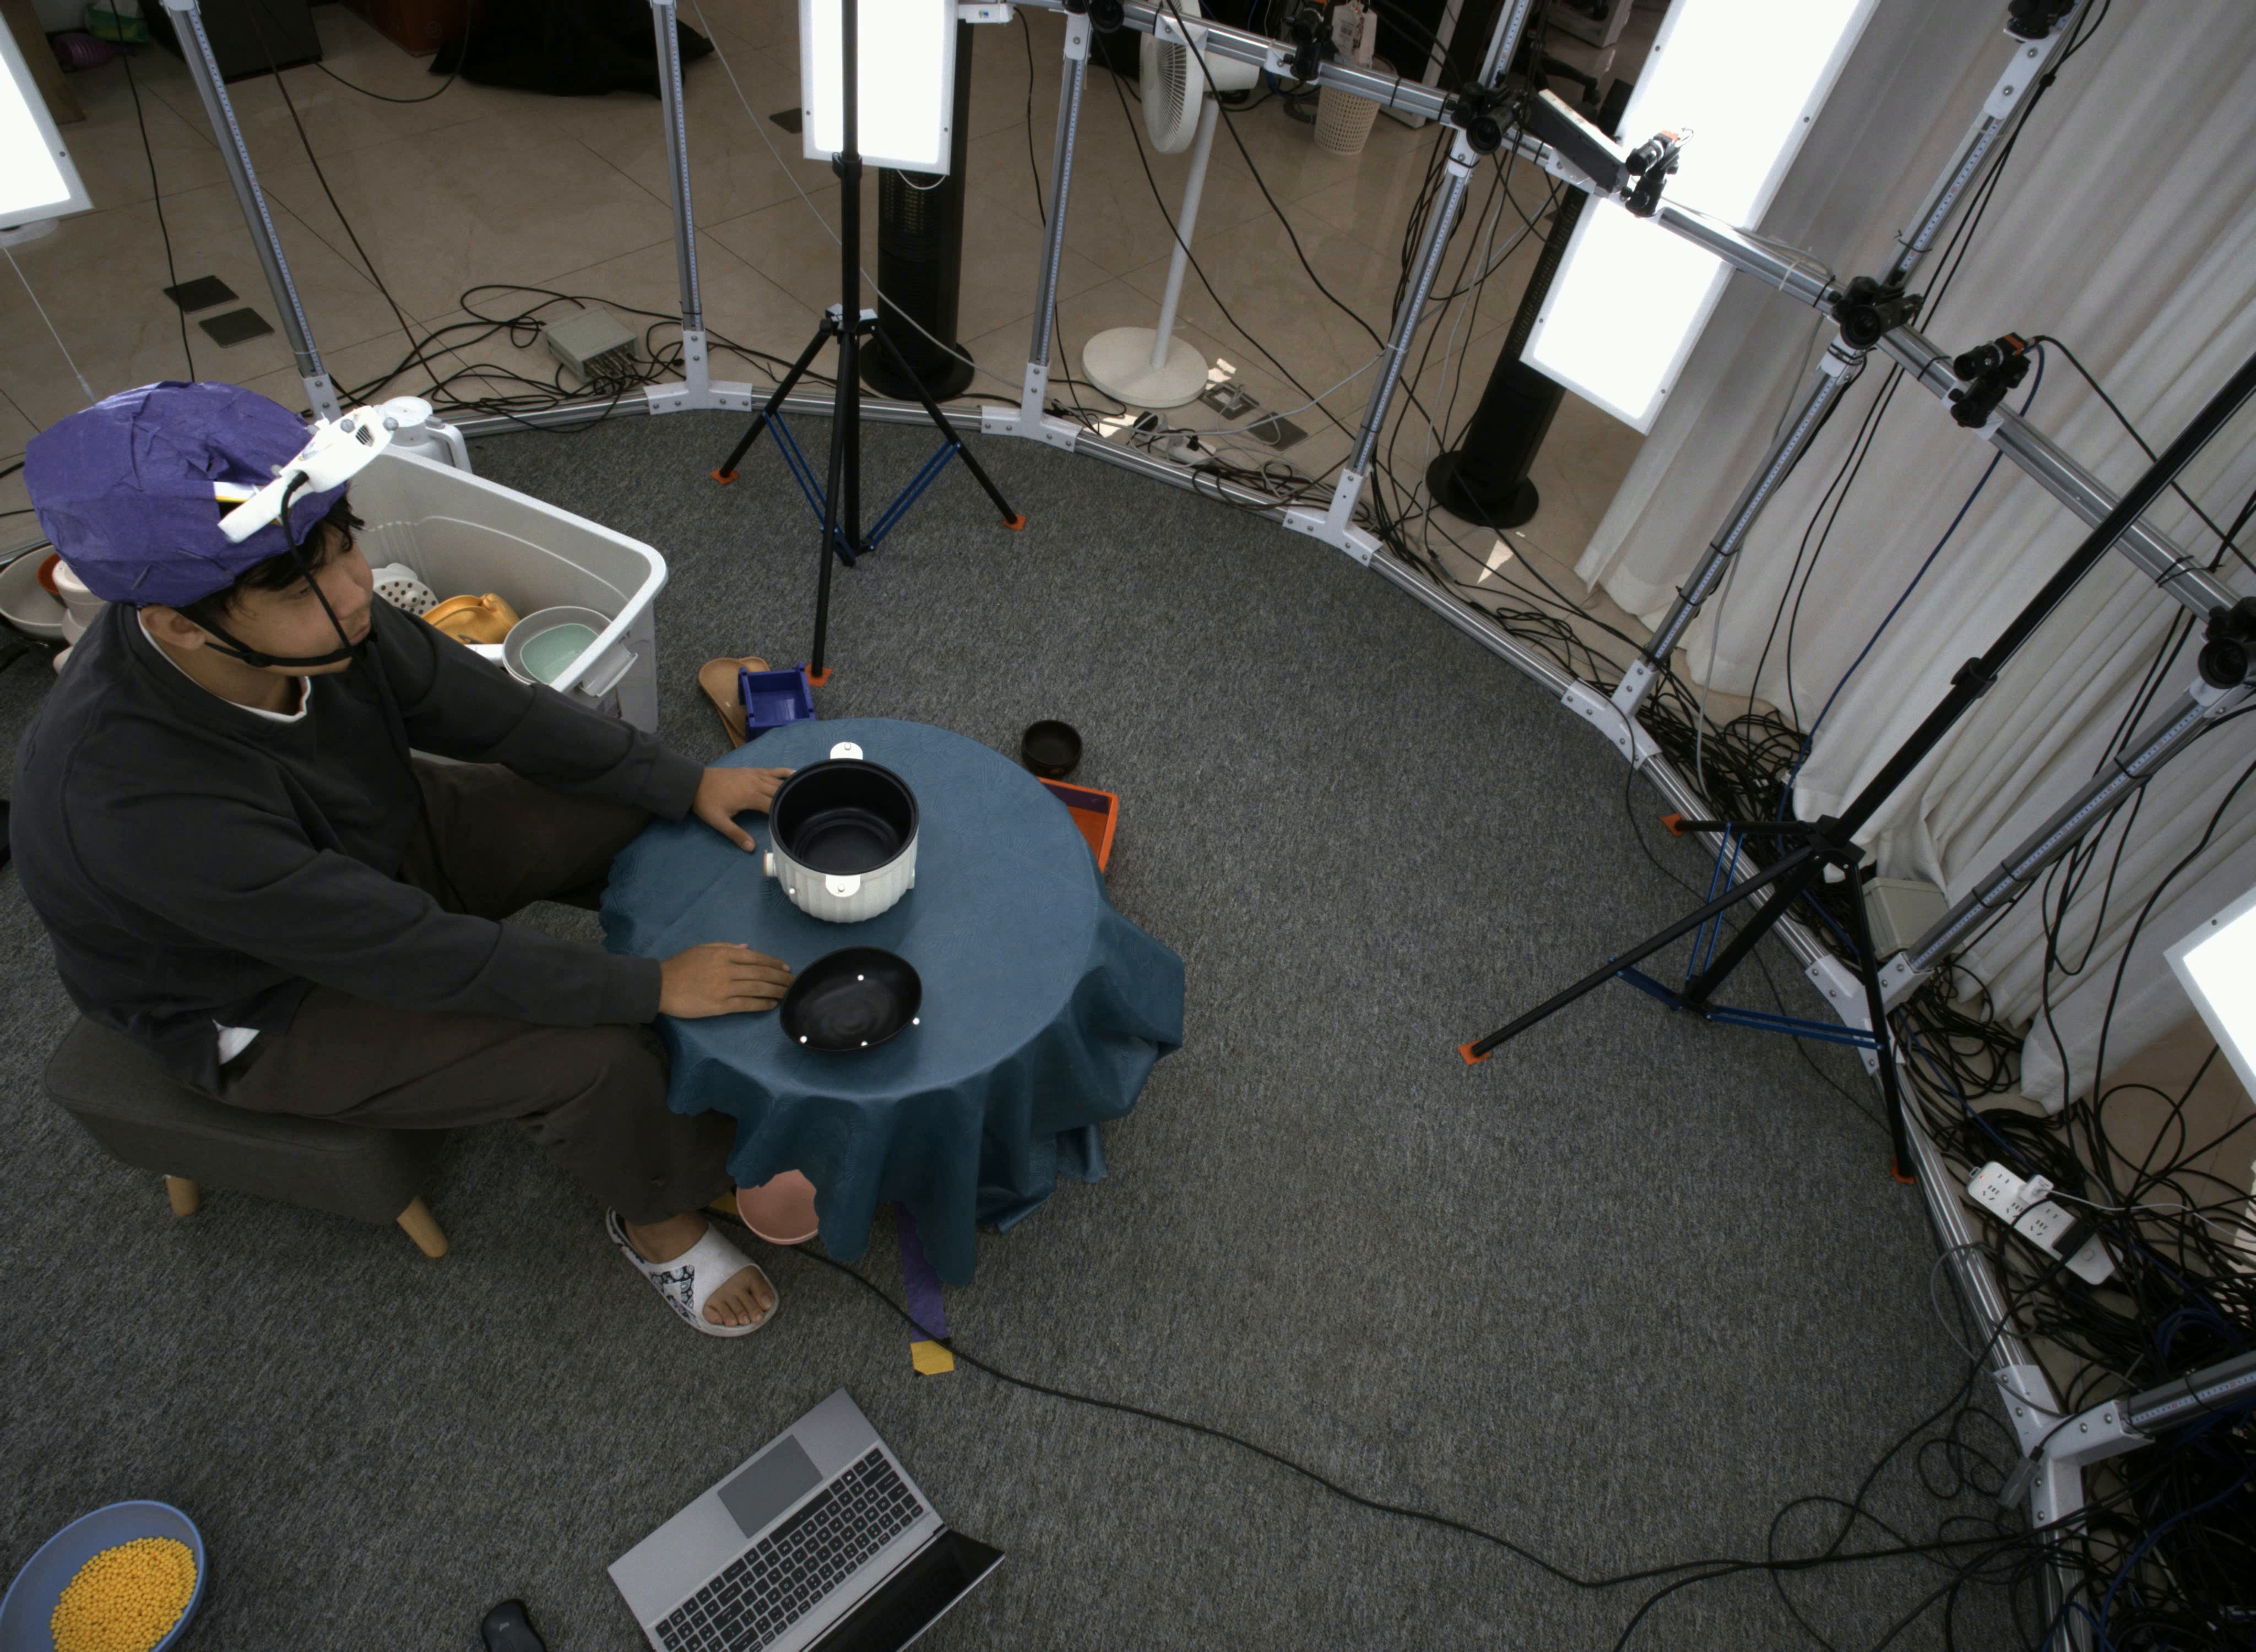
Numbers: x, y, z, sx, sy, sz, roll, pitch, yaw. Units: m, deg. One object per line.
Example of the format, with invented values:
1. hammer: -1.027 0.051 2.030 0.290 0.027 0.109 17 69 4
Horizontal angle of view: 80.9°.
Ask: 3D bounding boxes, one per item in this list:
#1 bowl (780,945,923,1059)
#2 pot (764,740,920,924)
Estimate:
1. bowl: -0.325 0.218 1.540 0.171 0.068 0.134 -20 60 -24
2. pot: -0.359 0.025 1.628 0.191 0.145 0.235 2 52 -15
